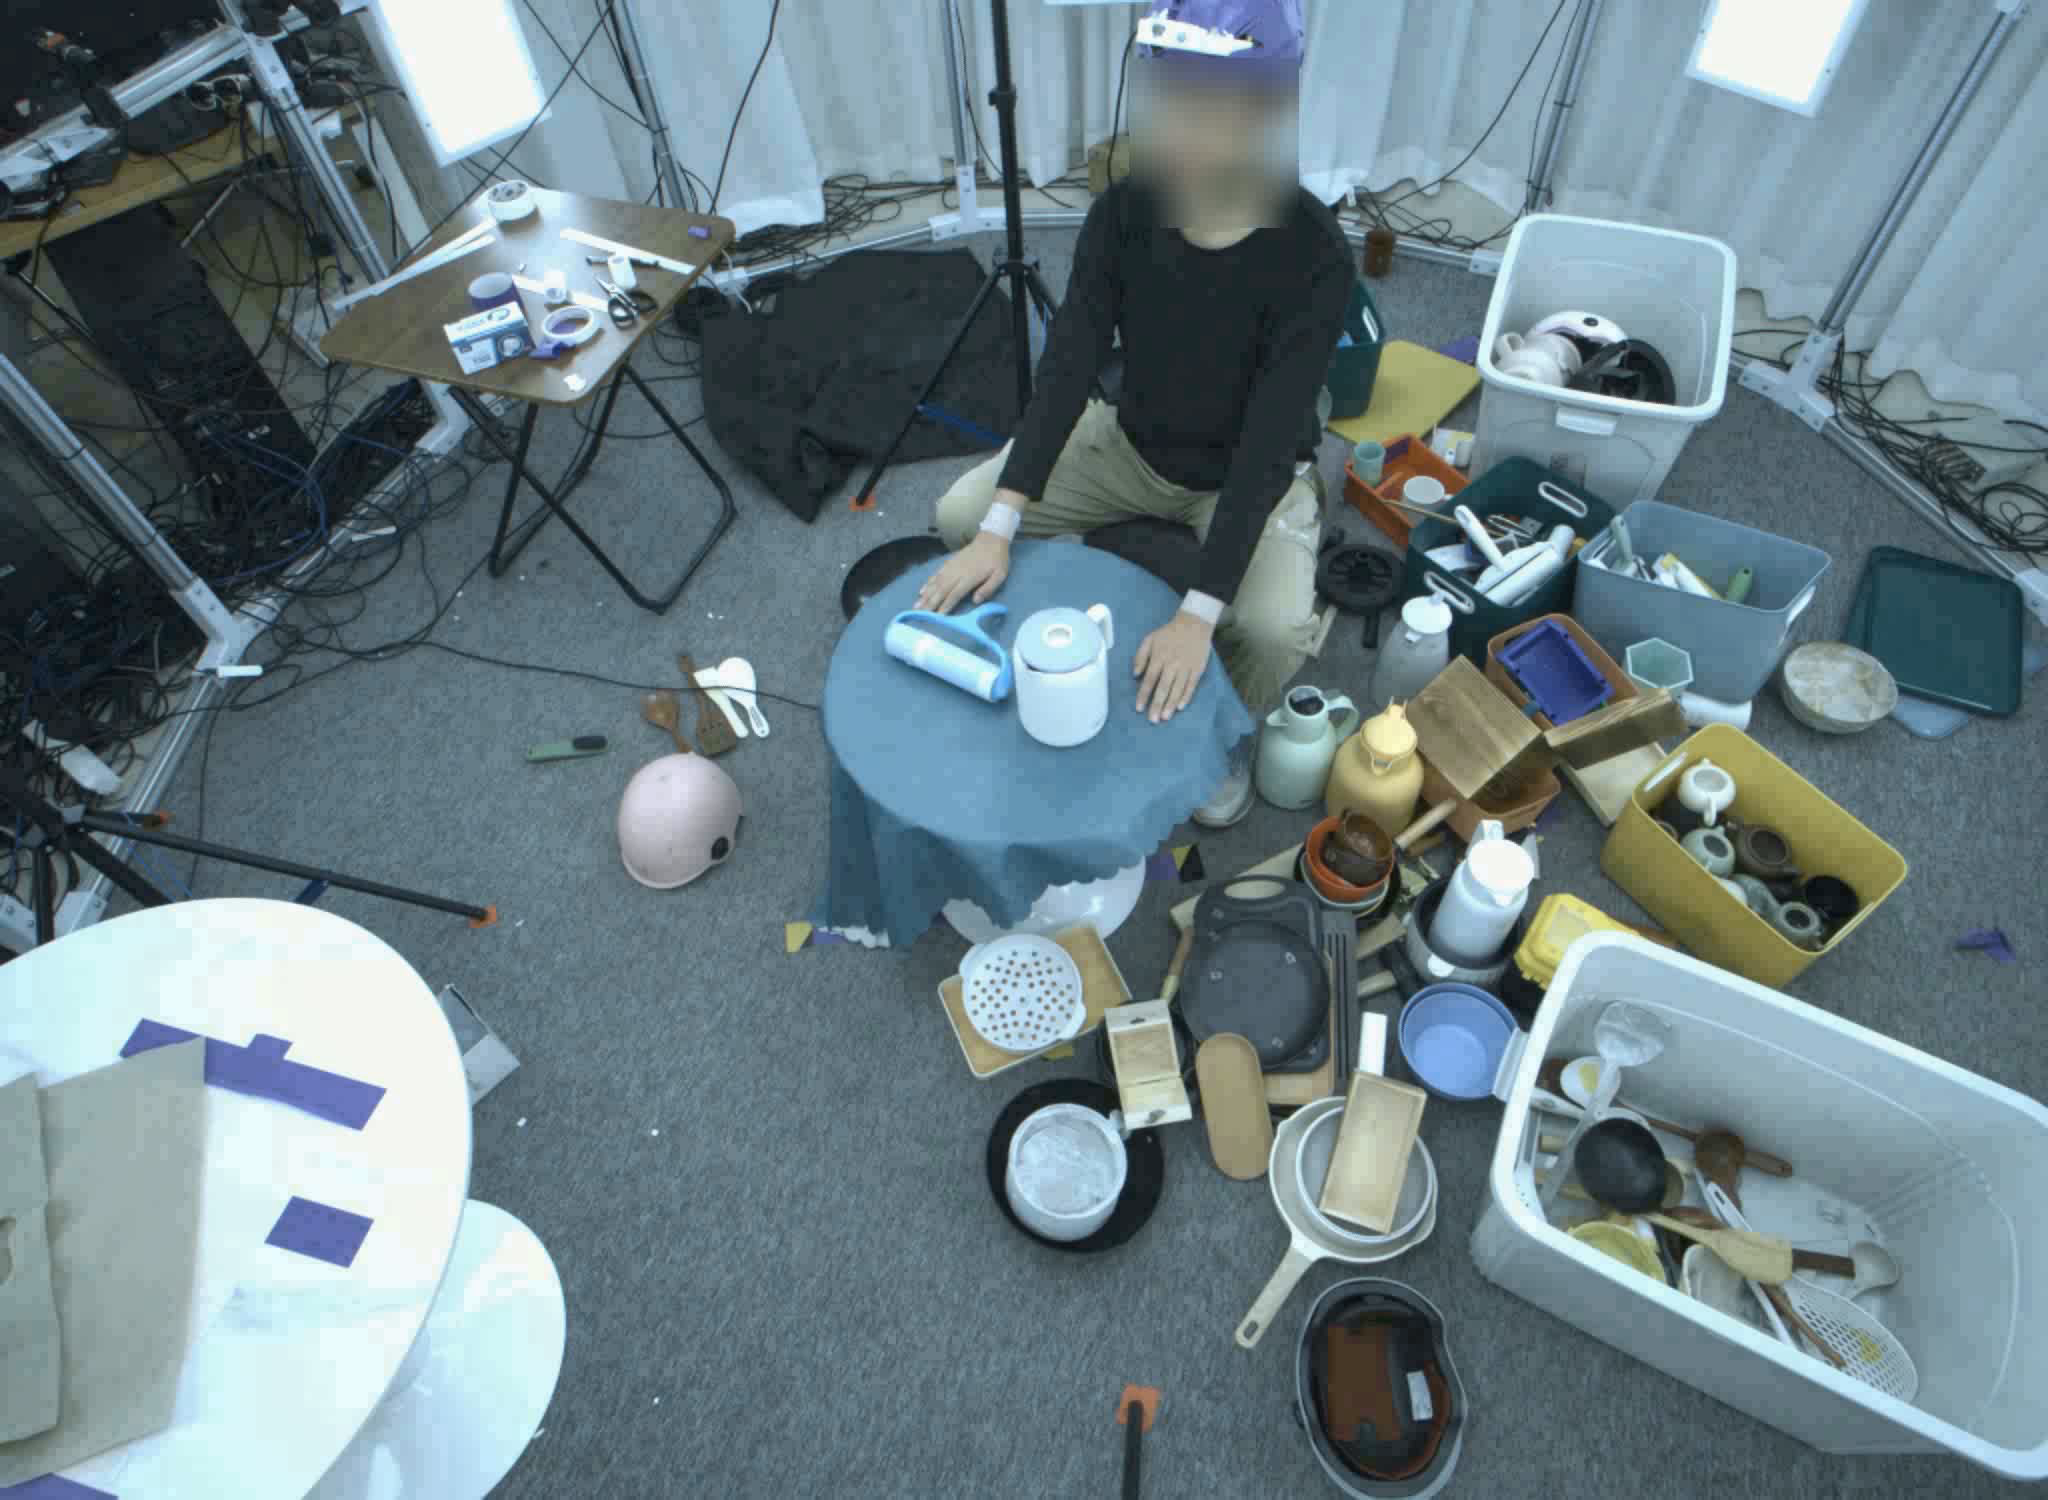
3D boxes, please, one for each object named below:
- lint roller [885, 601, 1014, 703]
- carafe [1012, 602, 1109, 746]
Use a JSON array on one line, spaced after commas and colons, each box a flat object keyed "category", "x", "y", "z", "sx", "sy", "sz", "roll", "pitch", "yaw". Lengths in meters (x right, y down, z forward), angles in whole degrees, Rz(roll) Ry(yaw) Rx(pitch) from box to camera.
[{"category": "lint roller", "x": -0.087, "y": -0.178, "z": 1.880, "sx": 0.225, "sy": 0.069, "sz": 0.180, "roll": 23, "pitch": 64, "yaw": 21}, {"category": "carafe", "x": 0.066, "y": -0.121, "z": 1.765, "sx": 0.130, "sy": 0.184, "sz": 0.192, "roll": 29, "pitch": 59, "yaw": 21}]
